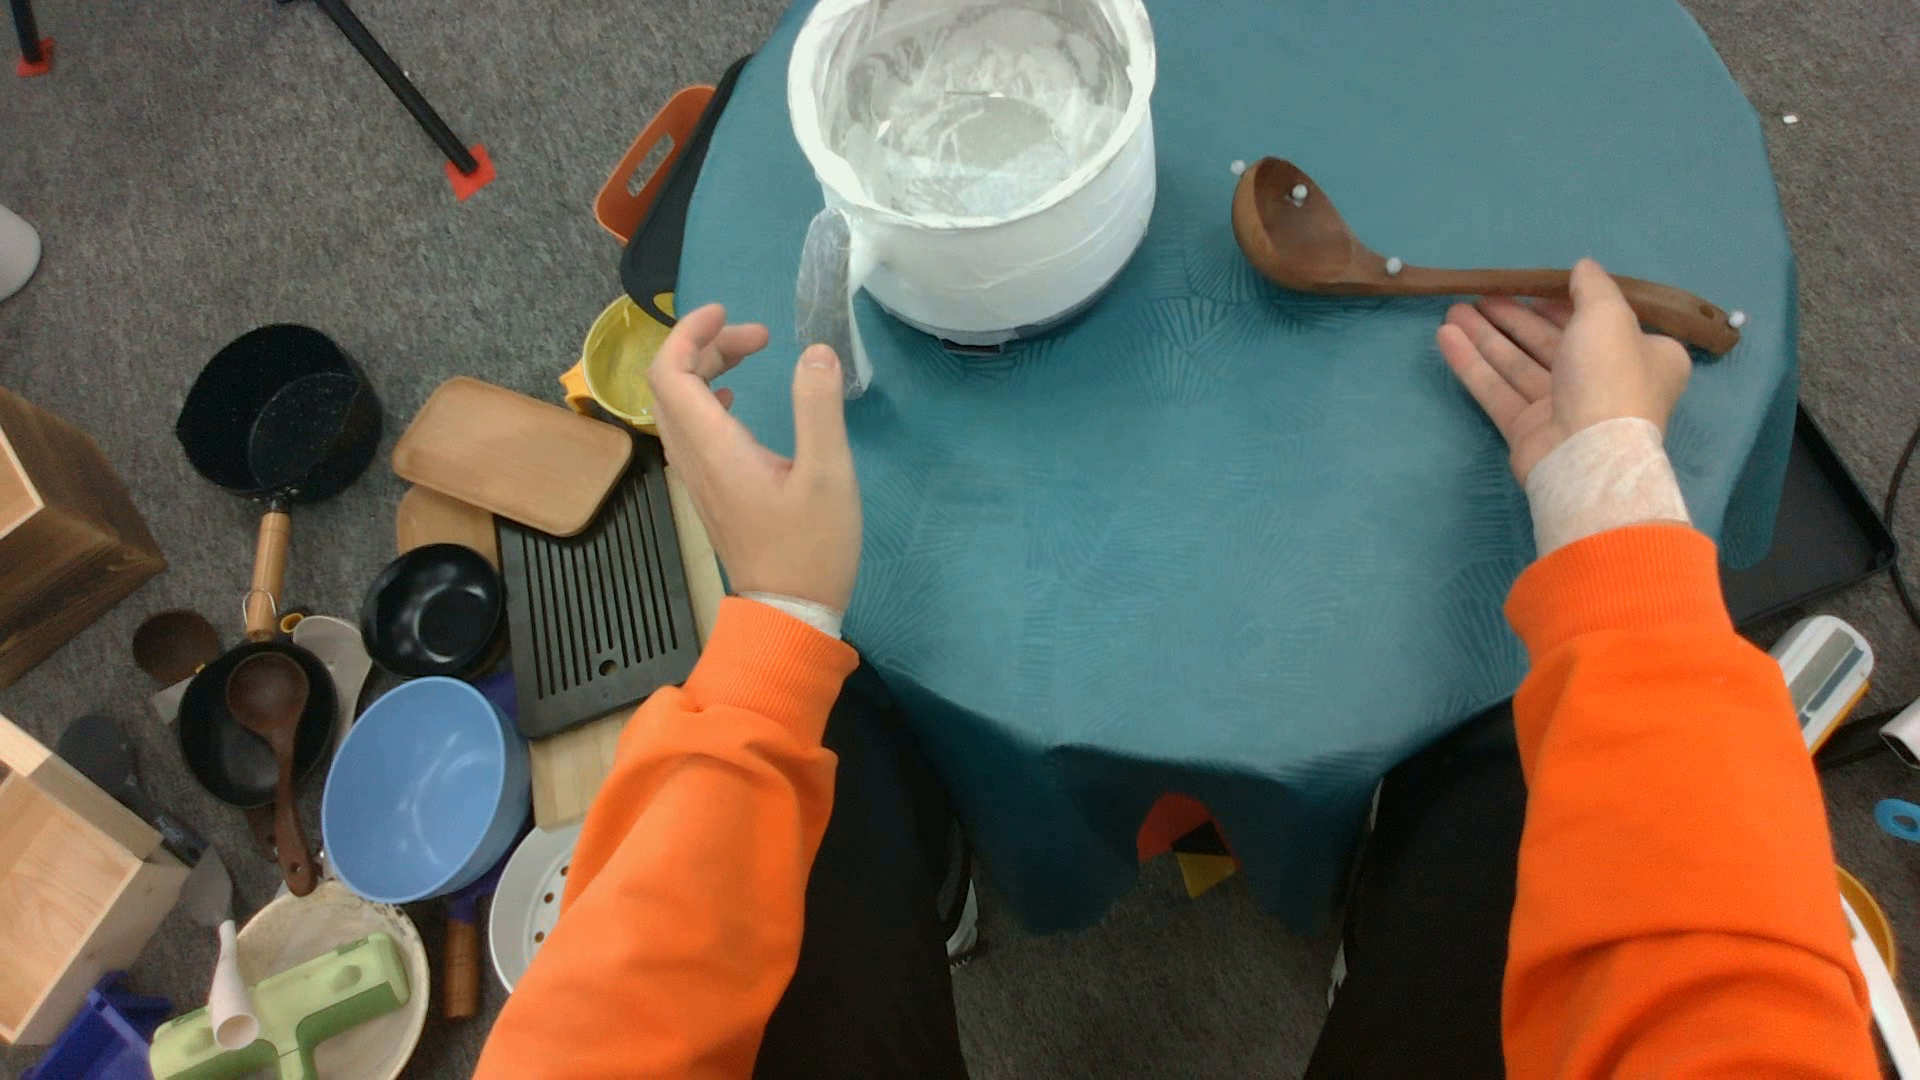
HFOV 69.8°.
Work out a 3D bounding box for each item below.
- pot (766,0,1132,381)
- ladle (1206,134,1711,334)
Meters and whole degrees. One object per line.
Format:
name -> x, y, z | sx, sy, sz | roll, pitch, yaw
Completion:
pot -> -0.016, -0.192, 0.712 | 0.179, 0.136, 0.234 | 33, 77, 18
ladle -> 0.254, -0.154, 0.703 | 0.260, 0.065, 0.077 | 12, 56, 12
